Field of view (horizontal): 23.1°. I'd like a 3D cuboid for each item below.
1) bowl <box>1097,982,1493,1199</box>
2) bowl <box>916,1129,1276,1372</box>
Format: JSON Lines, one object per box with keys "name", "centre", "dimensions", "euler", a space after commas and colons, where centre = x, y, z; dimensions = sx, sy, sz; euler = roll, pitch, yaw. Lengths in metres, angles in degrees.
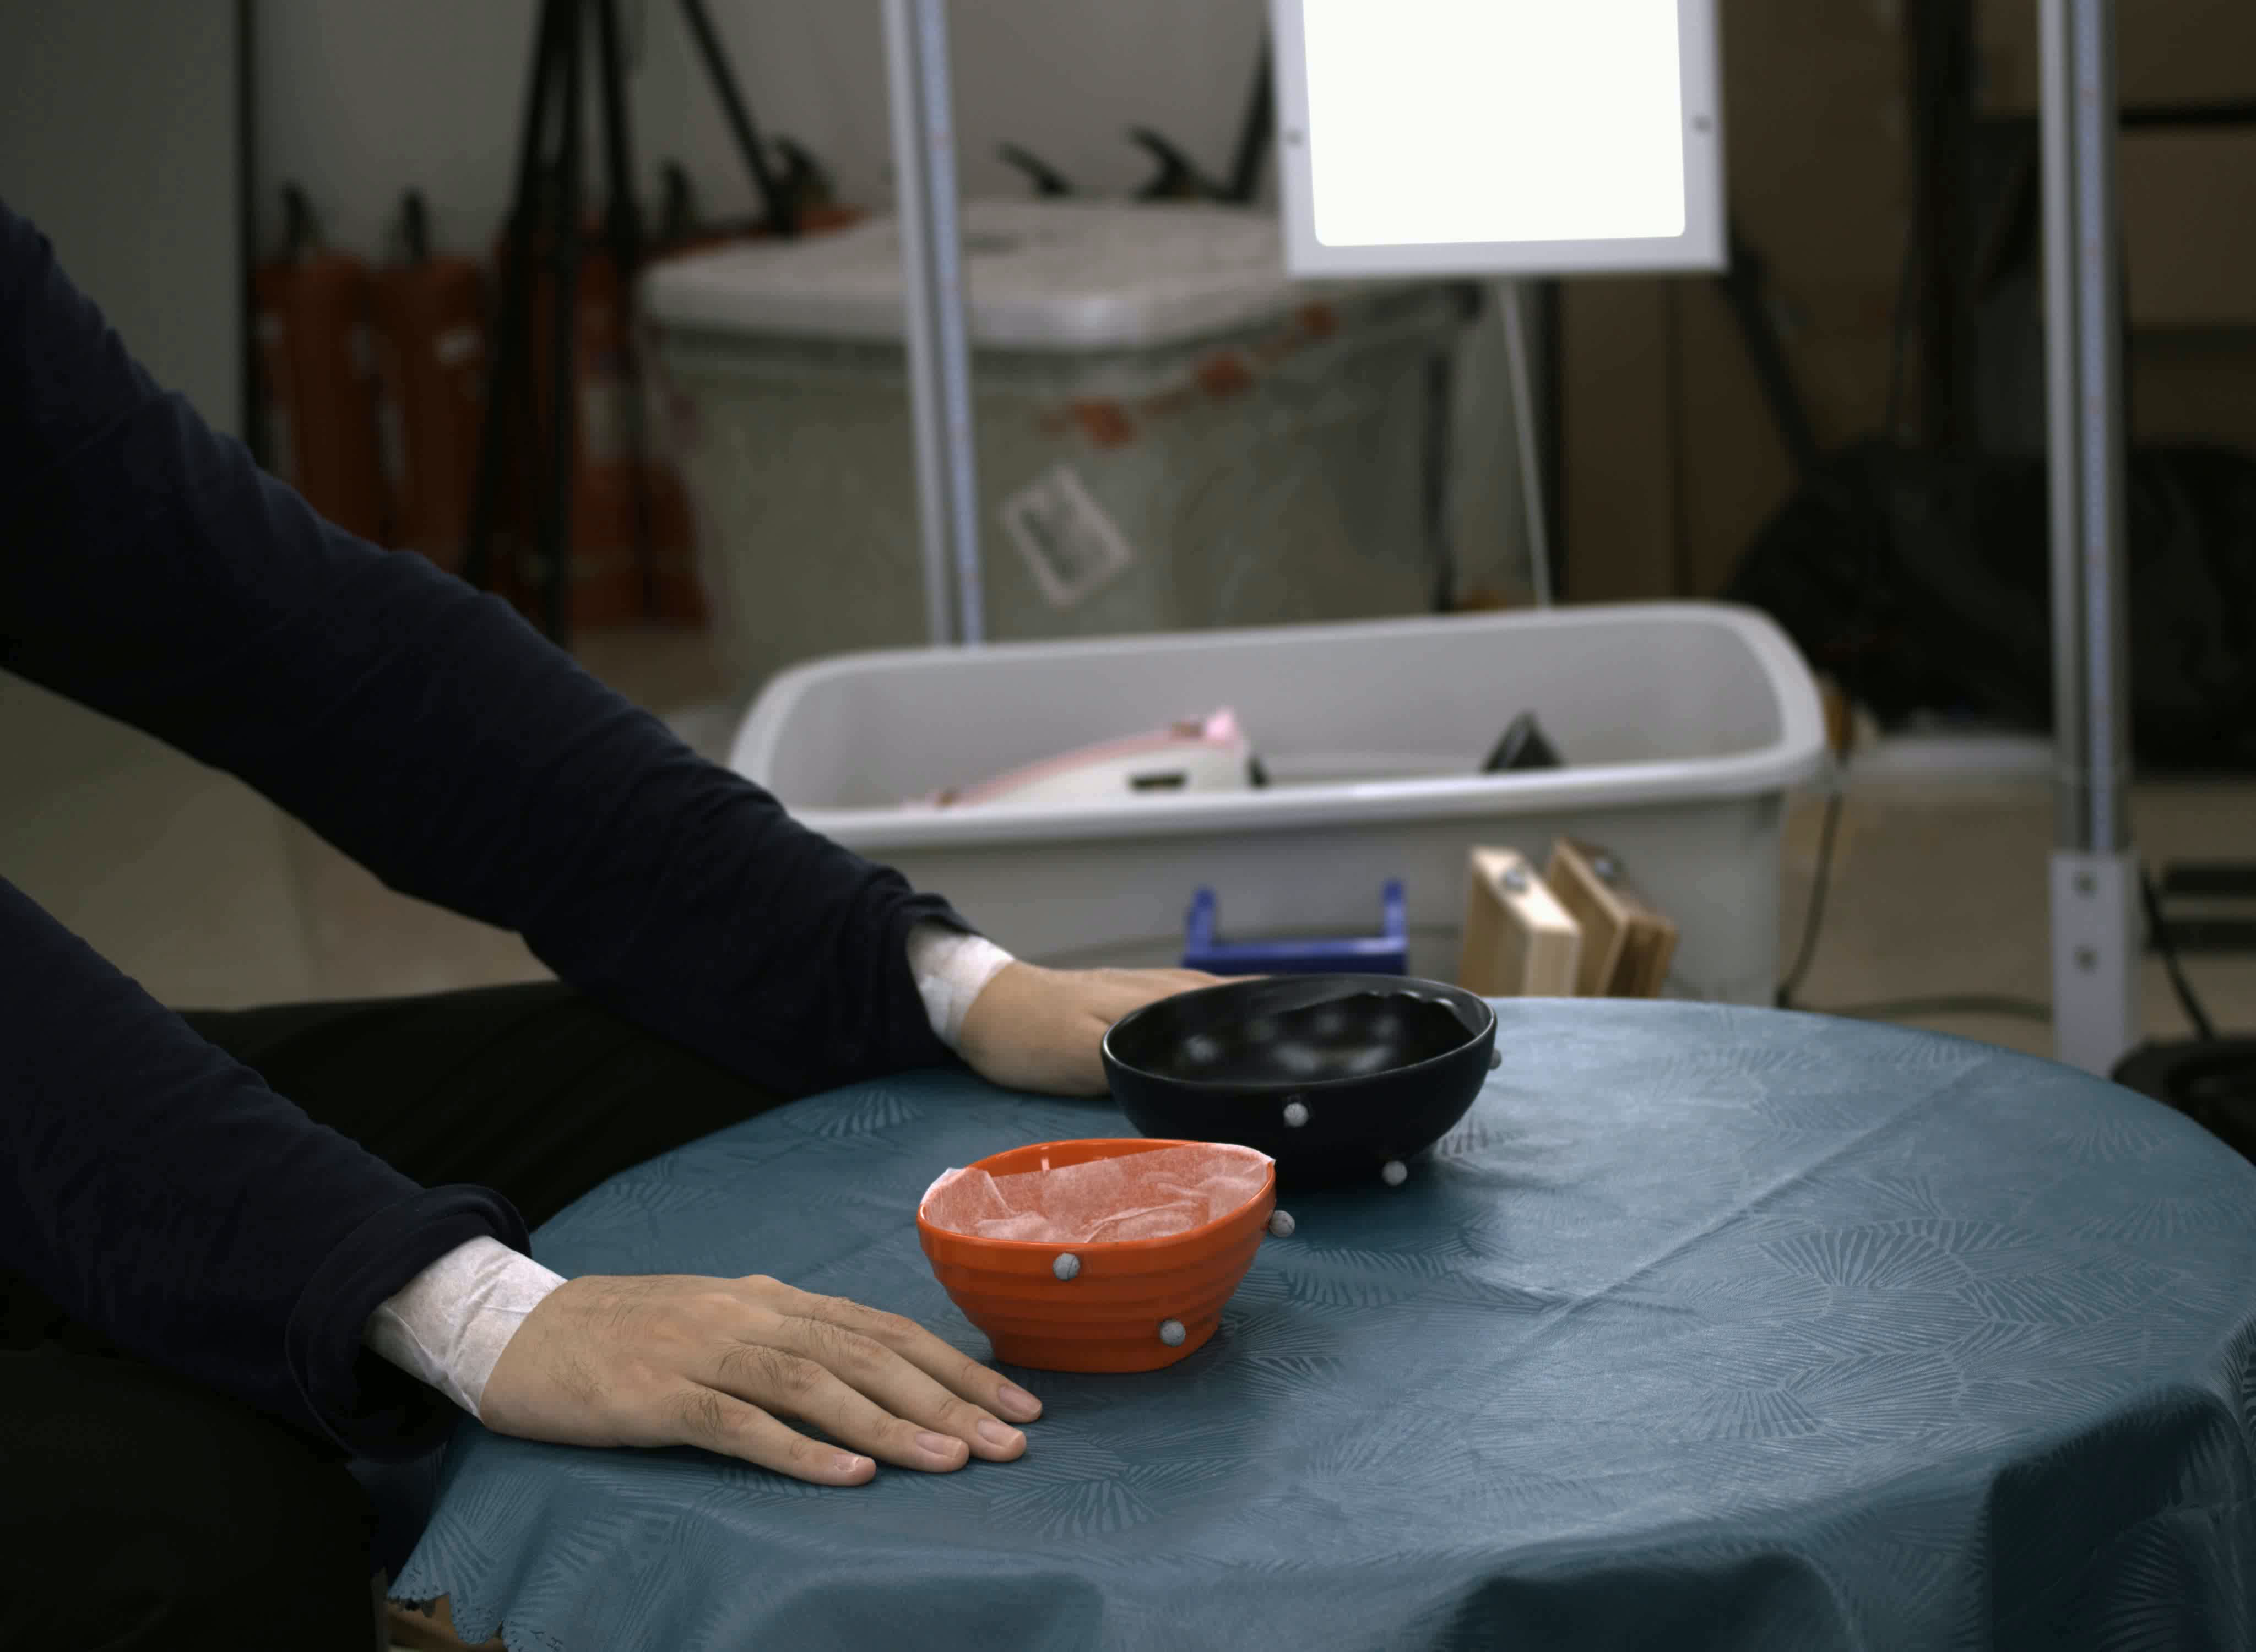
{"name": "bowl", "centre": [0.061, 0.096, 1.914], "dimensions": [0.140, 0.050, 0.140], "euler": [-9, 12, 0]}
{"name": "bowl", "centre": [-0.008, 0.137, 1.750], "dimensions": [0.118, 0.051, 0.119], "euler": [-4, 16, 0]}
